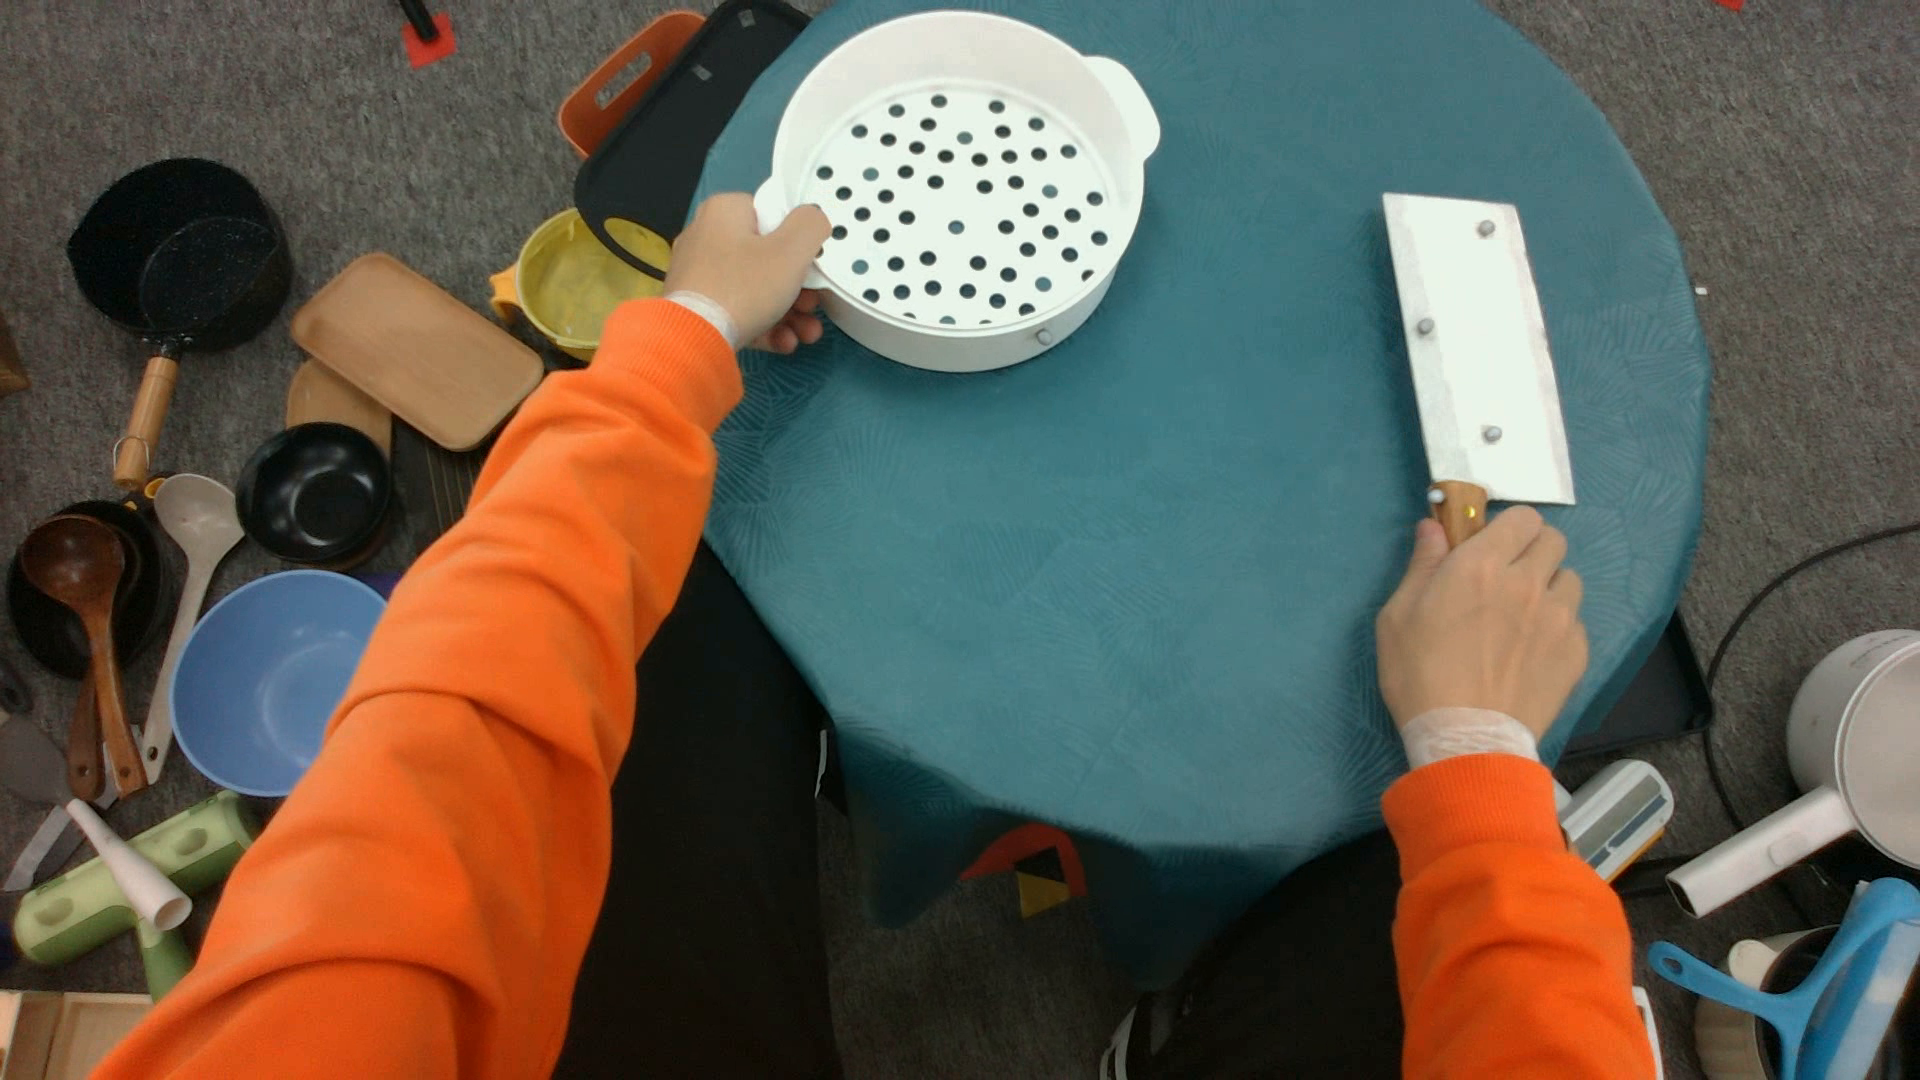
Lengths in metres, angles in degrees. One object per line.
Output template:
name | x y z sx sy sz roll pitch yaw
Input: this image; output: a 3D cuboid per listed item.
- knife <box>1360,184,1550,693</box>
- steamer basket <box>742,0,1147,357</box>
knife | 0.284 -0.066 0.768 0.093 0.021 0.306 2 71 -17
steamer basket | -0.008 -0.202 0.773 0.231 0.069 0.202 -24 75 -12
